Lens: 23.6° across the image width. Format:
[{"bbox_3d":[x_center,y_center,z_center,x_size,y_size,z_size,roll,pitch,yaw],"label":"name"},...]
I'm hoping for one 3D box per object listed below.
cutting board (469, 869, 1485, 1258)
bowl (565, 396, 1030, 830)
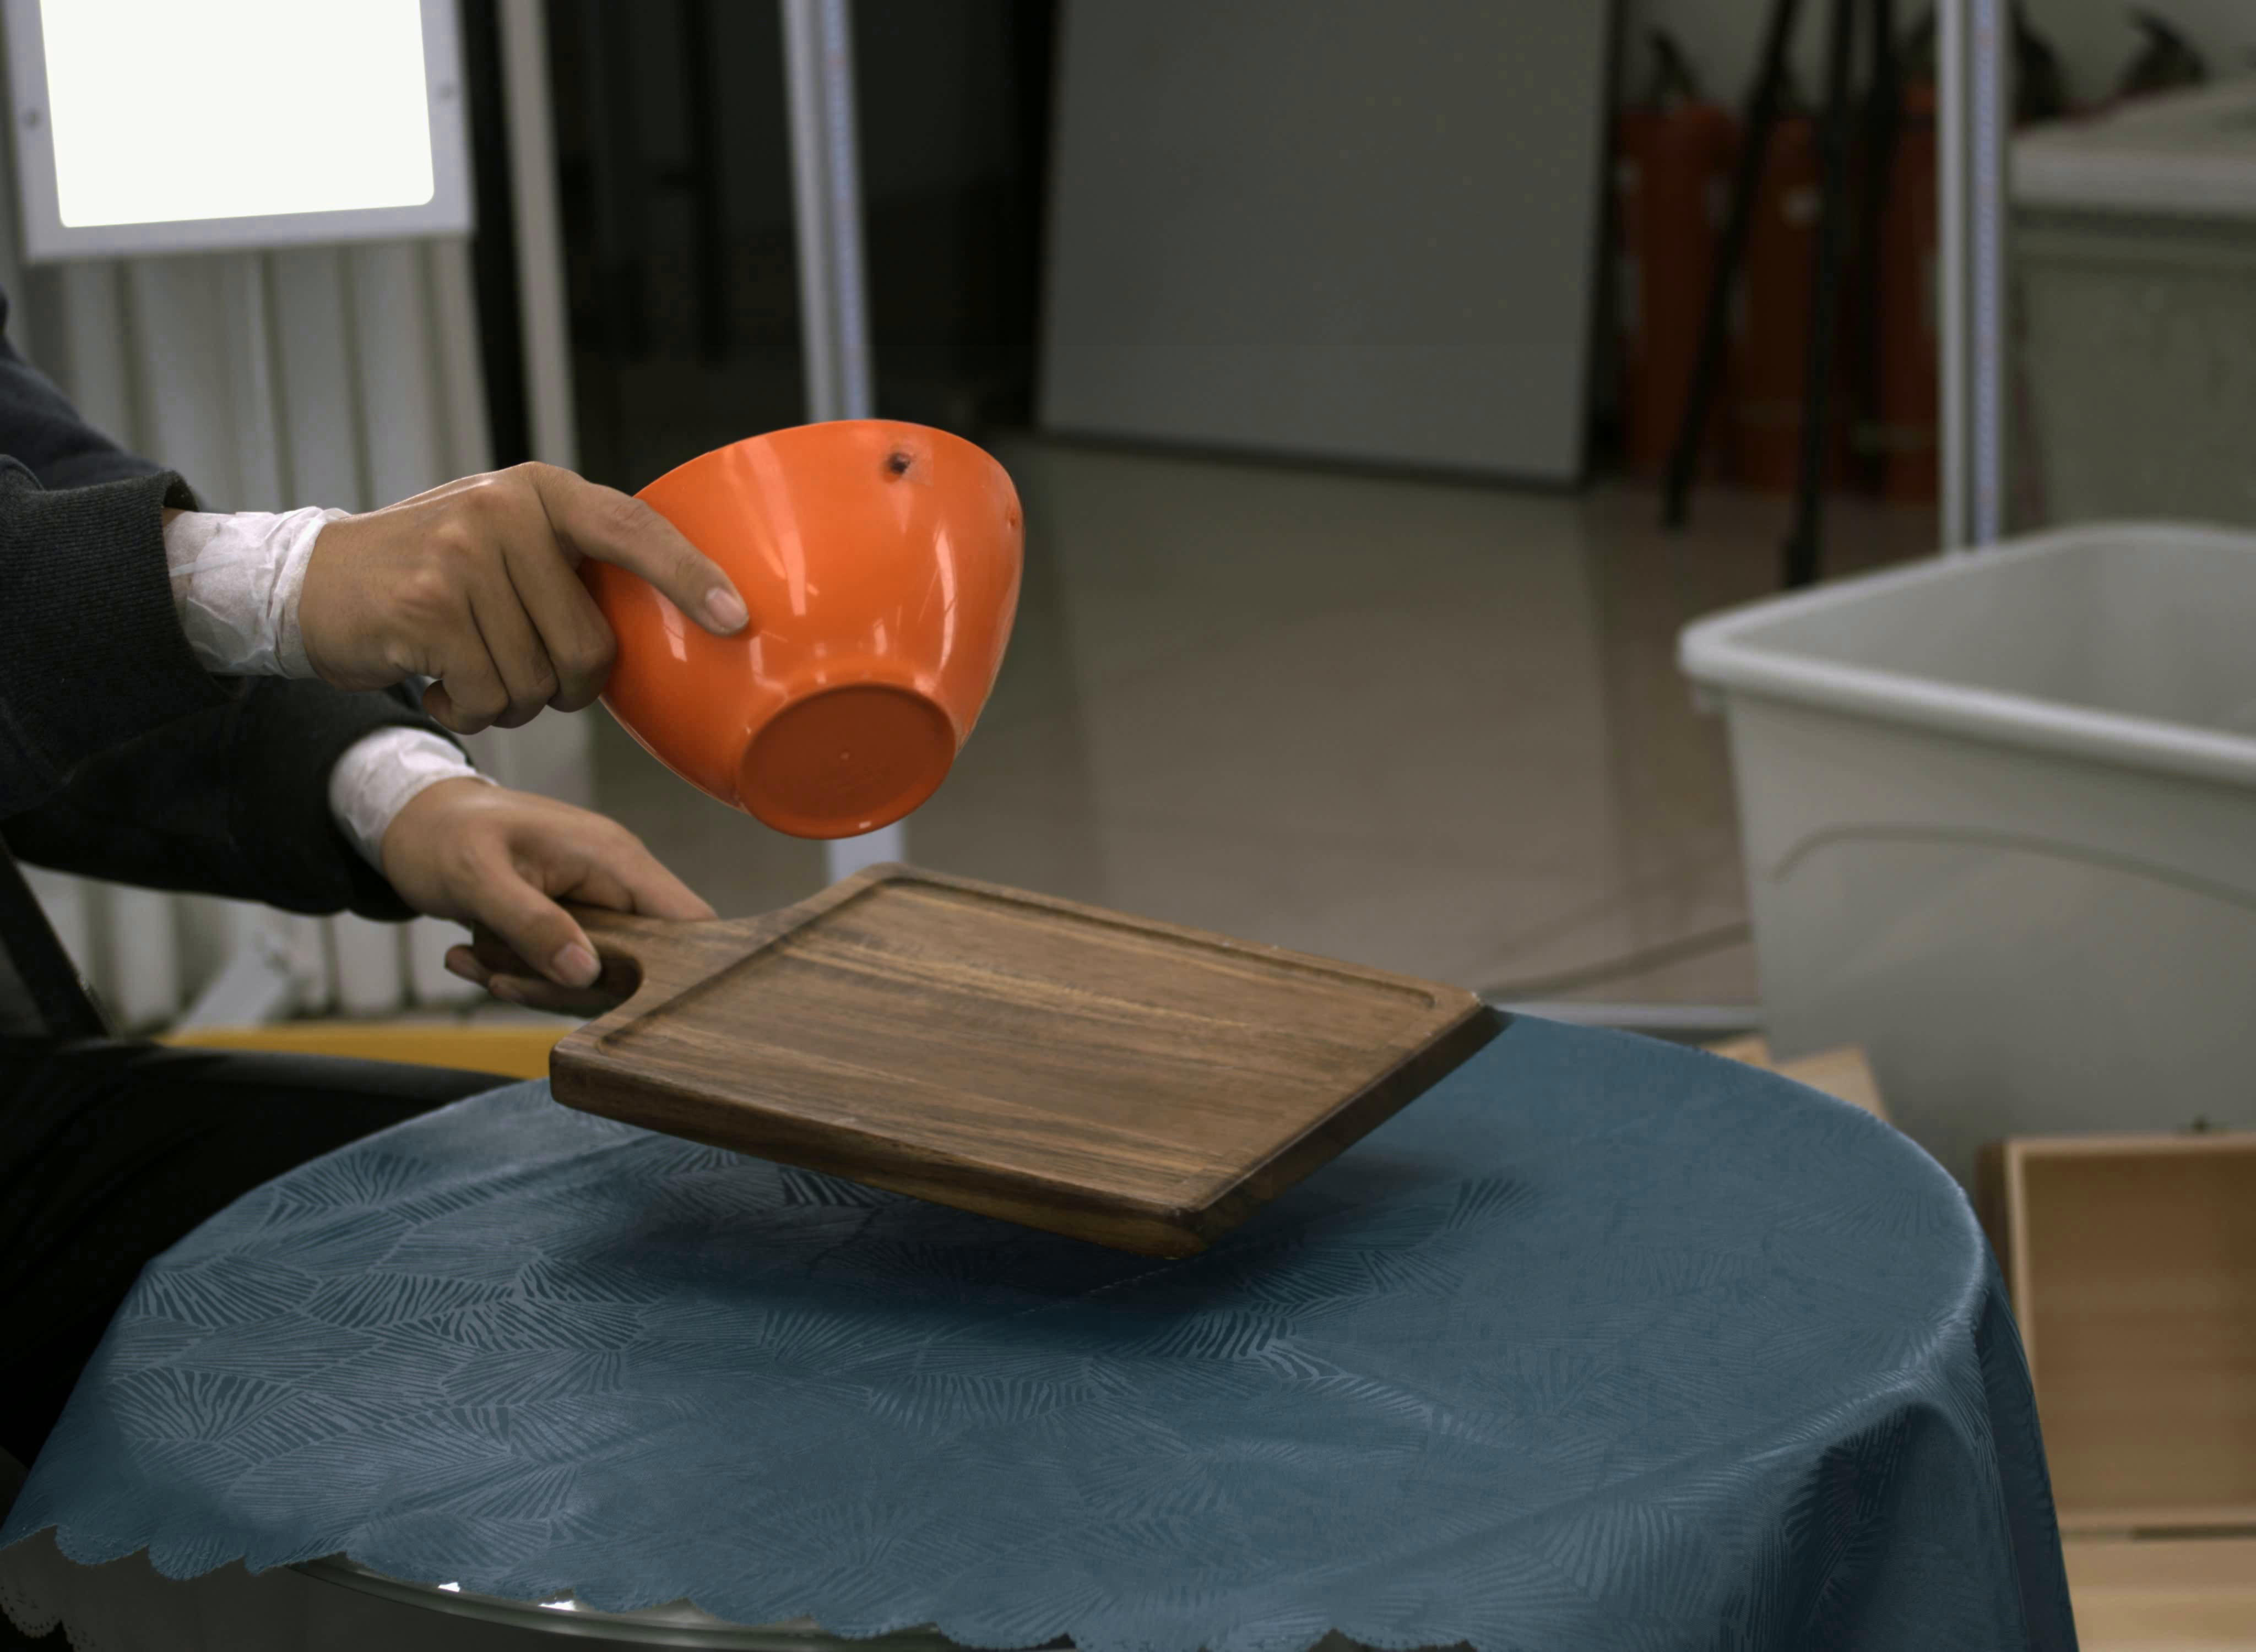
[{"bbox_3d":[-0.075,0.064,1.787,0.354,0.023,0.198,11,24,32],"label":"cutting board"},{"bbox_3d":[-0.091,-0.052,1.621,0.145,0.149,0.106,-6,47,-13],"label":"bowl"}]
